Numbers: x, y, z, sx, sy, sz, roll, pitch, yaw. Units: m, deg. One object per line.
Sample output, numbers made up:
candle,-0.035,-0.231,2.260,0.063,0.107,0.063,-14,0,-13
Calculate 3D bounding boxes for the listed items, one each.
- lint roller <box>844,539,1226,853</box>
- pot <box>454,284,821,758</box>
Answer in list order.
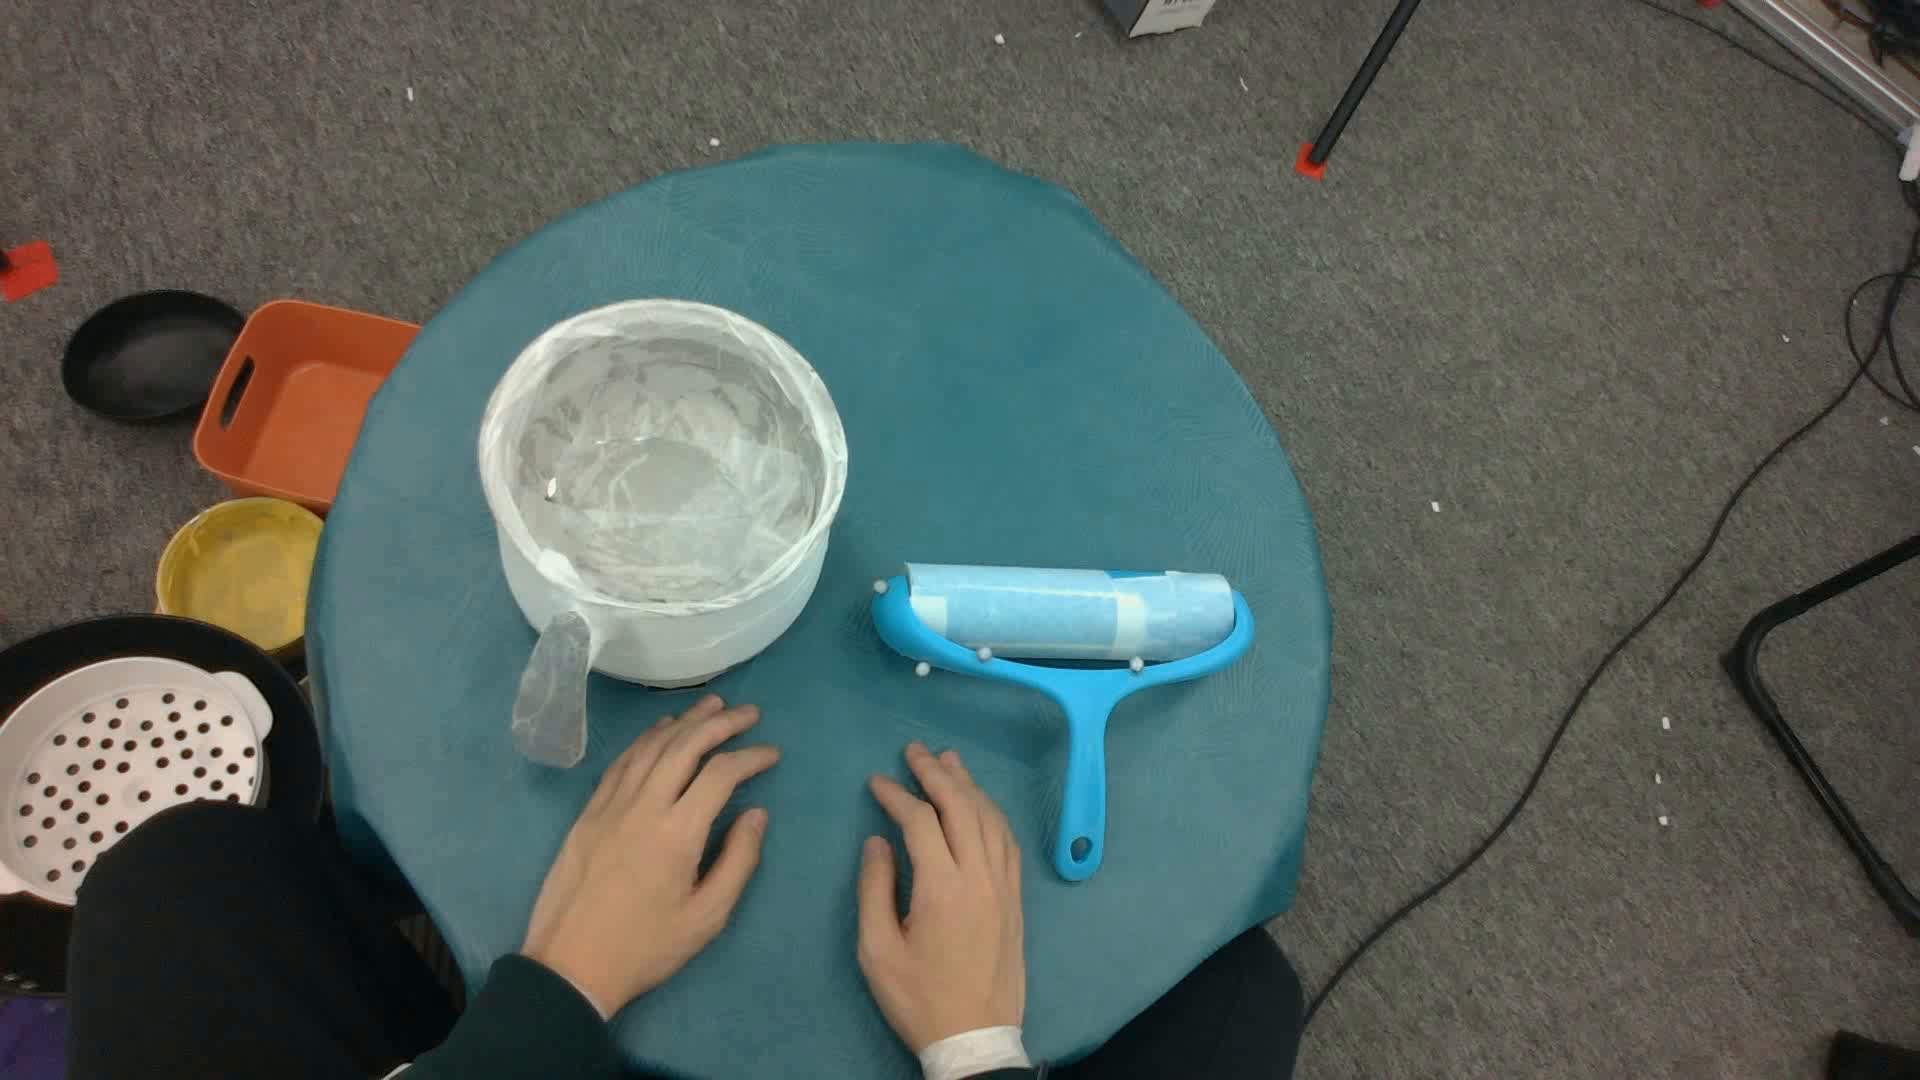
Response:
lint roller,0.055,0.082,0.787,0.229,0.067,0.181,-2,66,-16
pot,-0.179,-0.003,0.723,0.179,0.136,0.235,22,62,-3
